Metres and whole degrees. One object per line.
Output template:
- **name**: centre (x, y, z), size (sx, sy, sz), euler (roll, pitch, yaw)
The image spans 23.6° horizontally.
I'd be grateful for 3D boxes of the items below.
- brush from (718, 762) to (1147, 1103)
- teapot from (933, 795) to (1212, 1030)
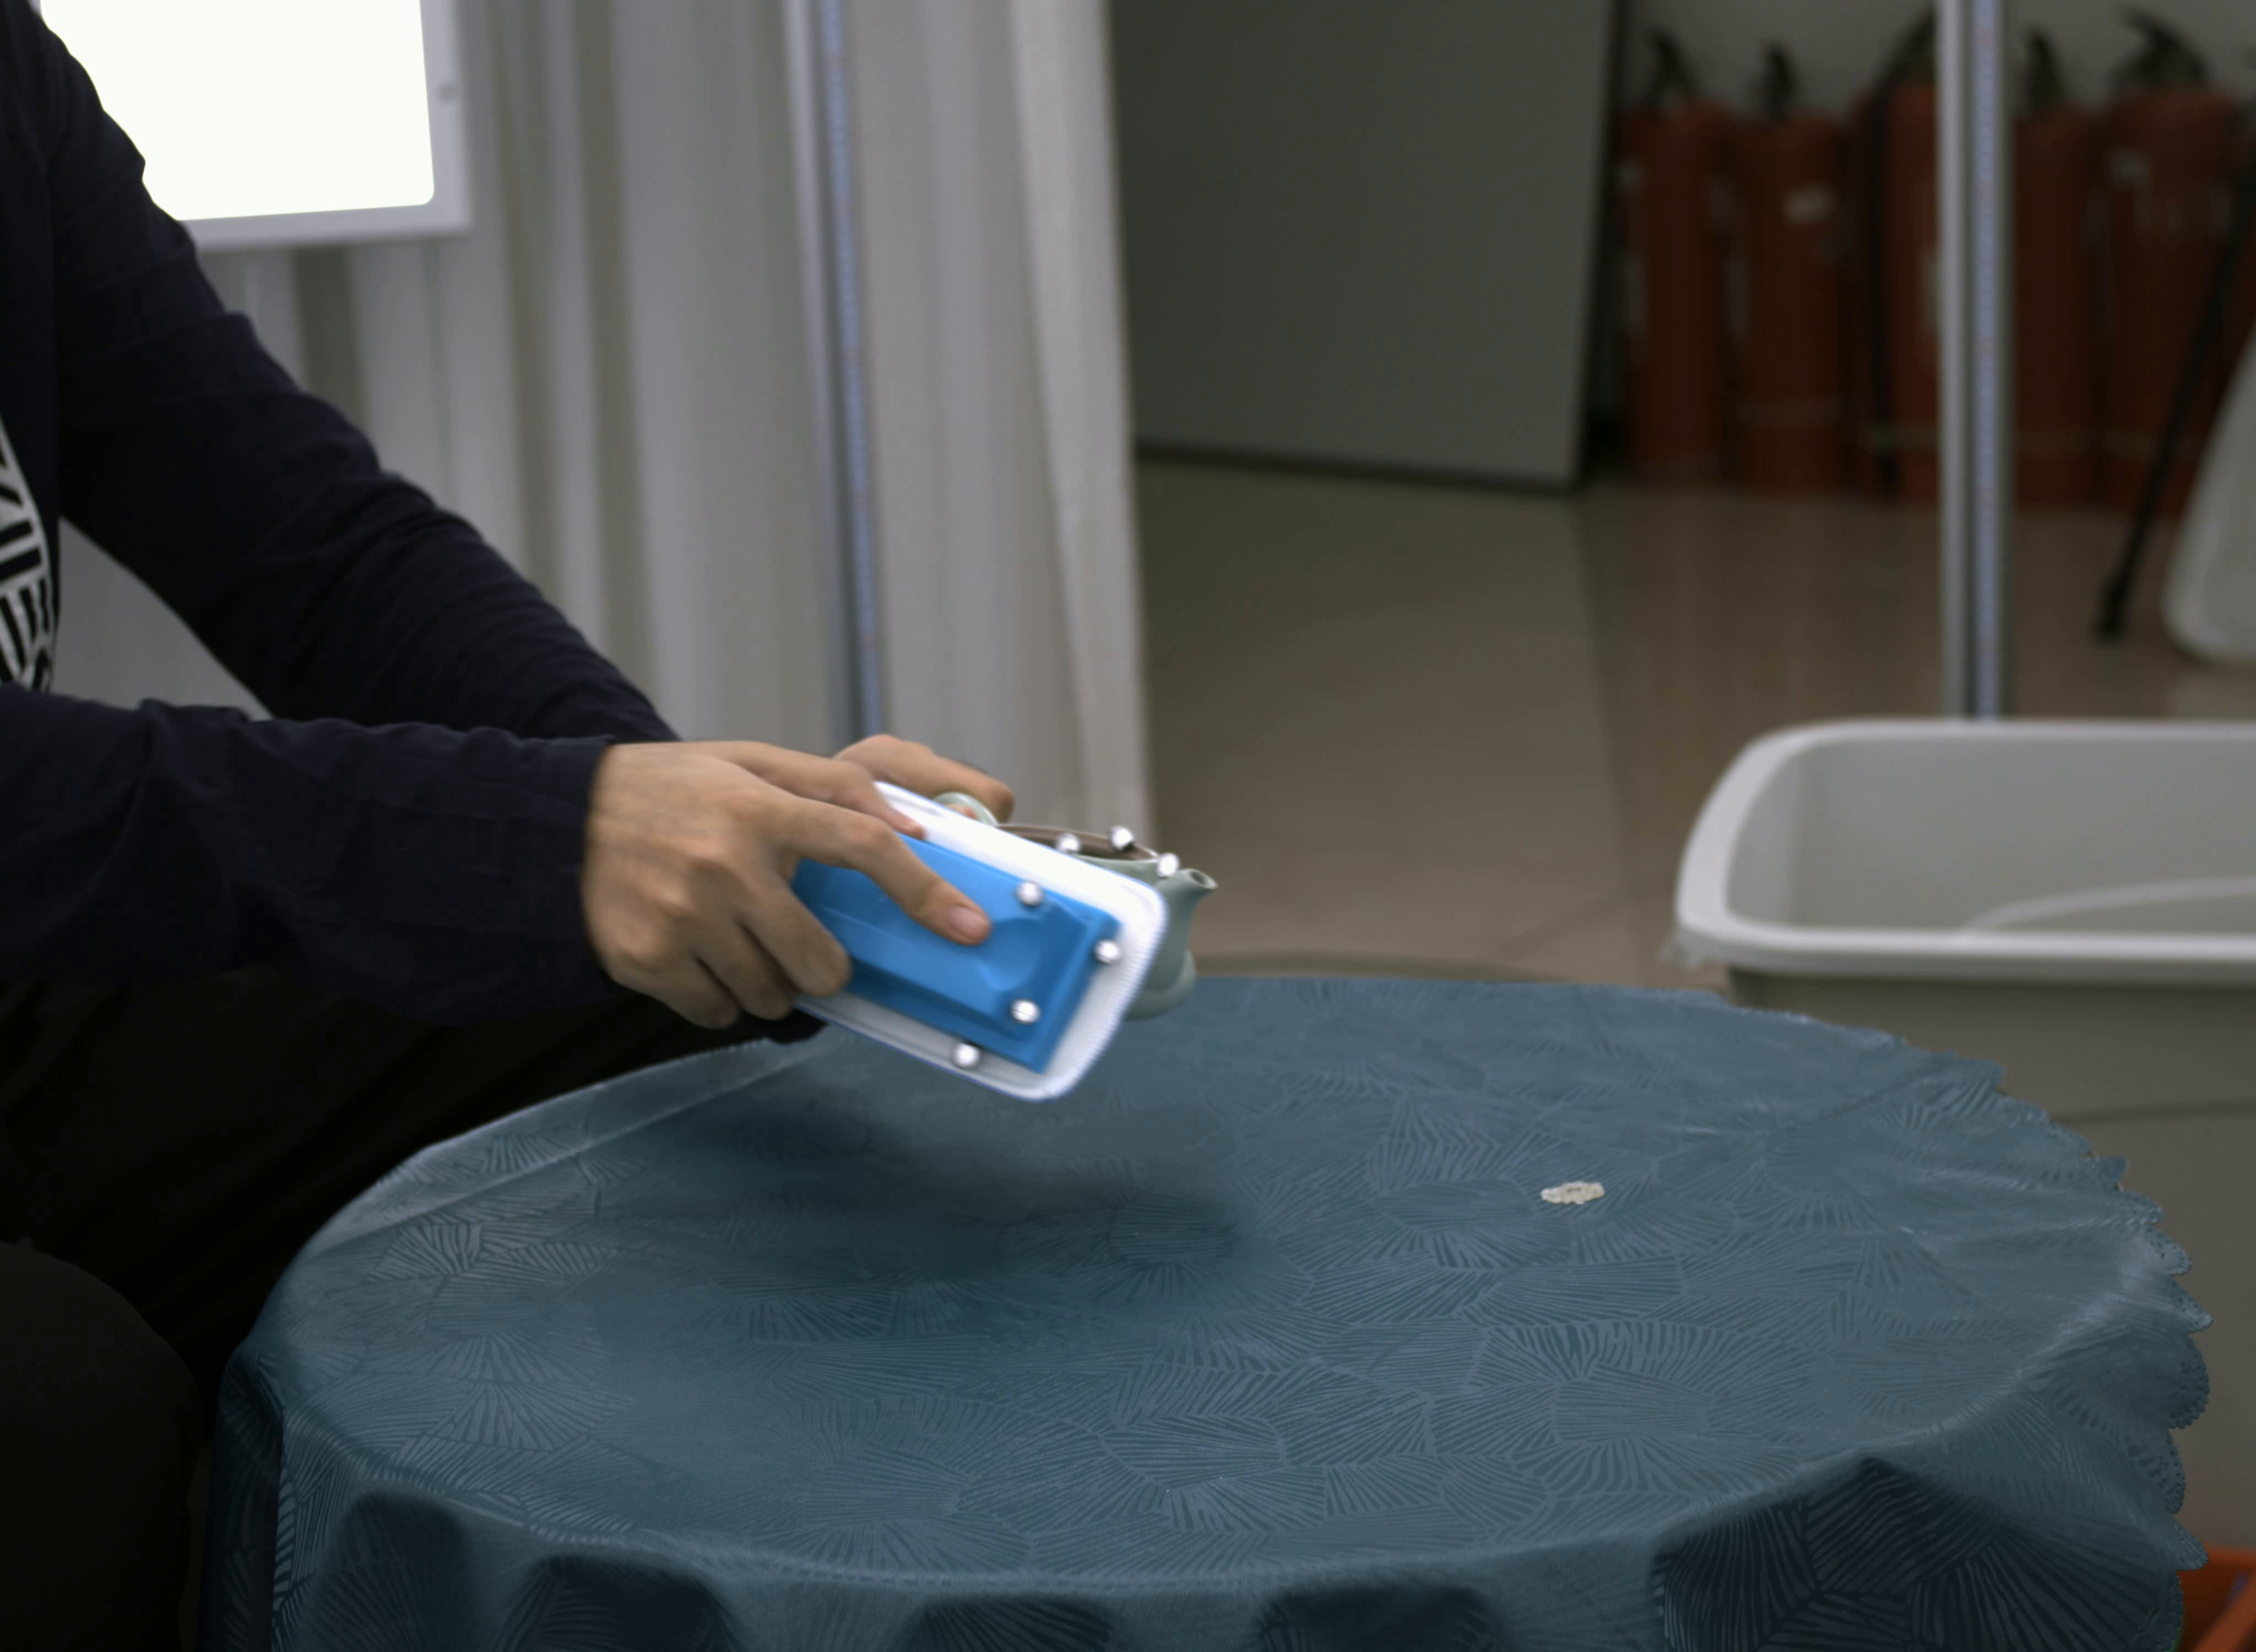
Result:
- **brush**: centre (-0.067, 0.027, 1.712), size (0.145, 0.084, 0.055), euler (25, -13, 34)
- **teapot**: centre (-0.029, 0.031, 1.771), size (0.138, 0.062, 0.094), euler (16, 10, 43)
